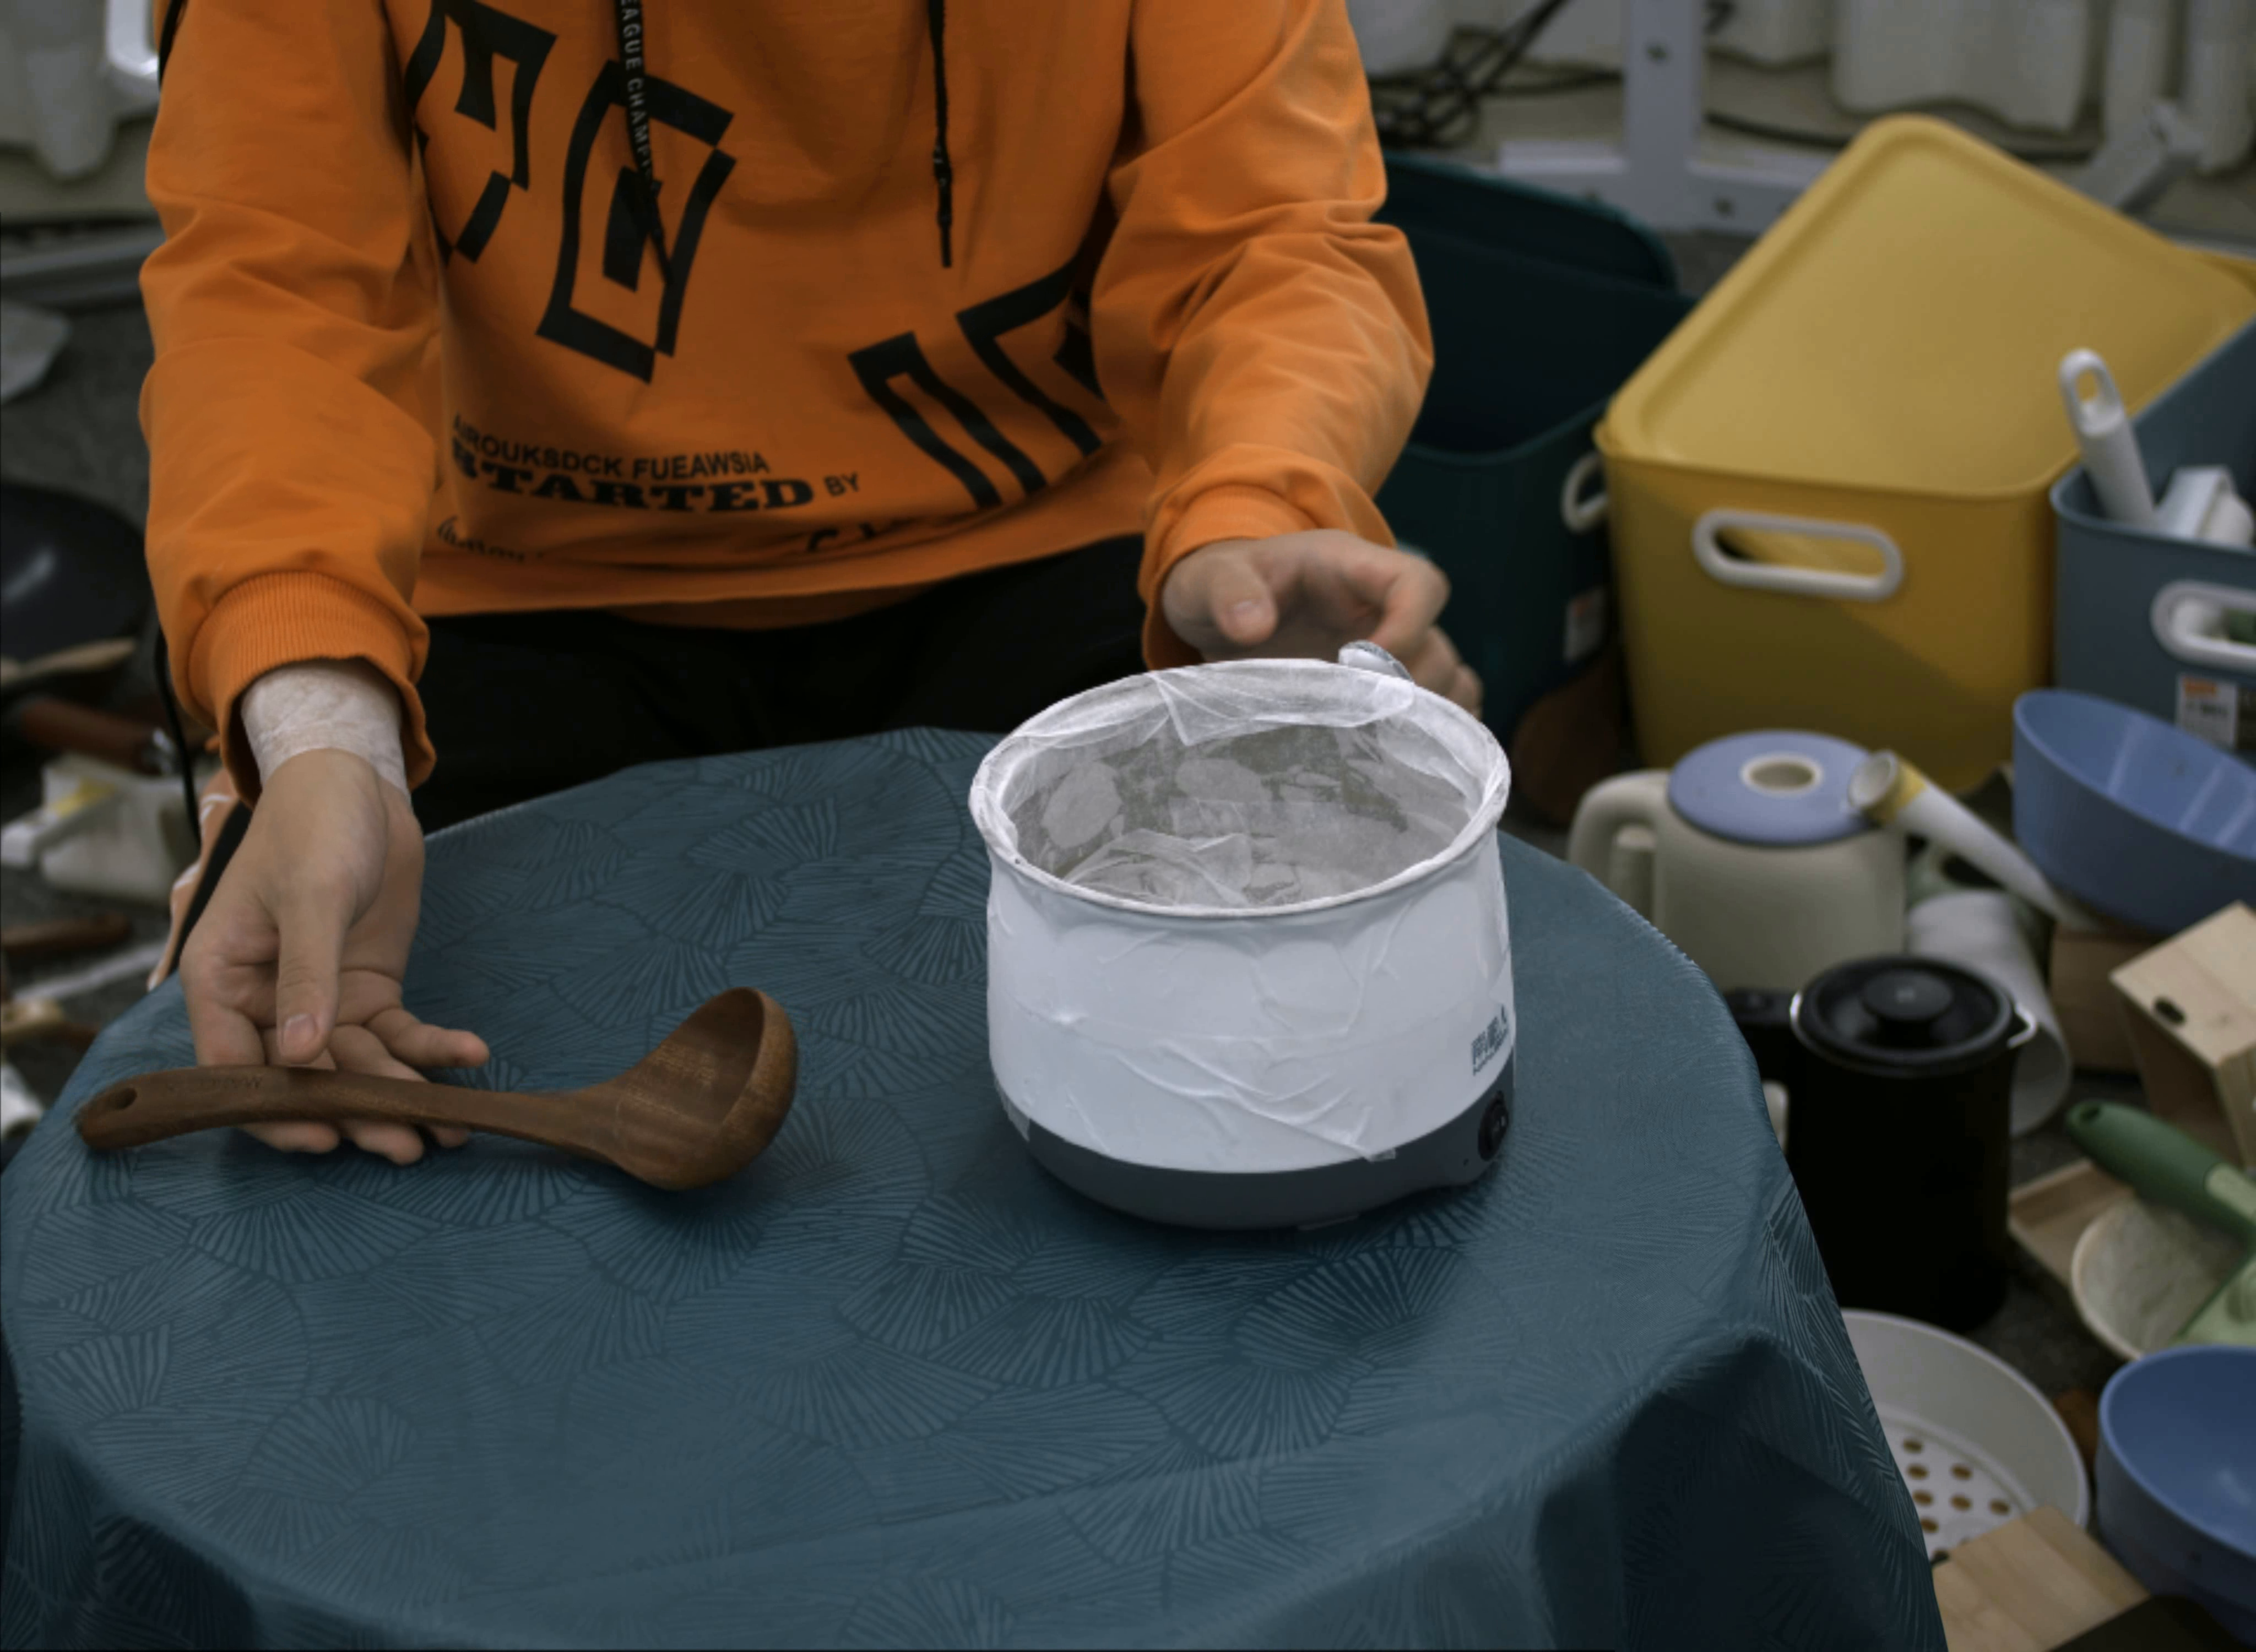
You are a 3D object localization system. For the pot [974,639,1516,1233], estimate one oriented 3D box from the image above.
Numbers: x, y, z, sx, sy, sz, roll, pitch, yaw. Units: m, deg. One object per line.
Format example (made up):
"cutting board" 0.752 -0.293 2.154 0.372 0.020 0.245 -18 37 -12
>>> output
"pot" 0.051 0.029 1.888 0.177 0.135 0.238 10 30 22

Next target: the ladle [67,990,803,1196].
"ladle" -0.235 0.088 1.884 0.258 0.064 0.078 2 41 8
